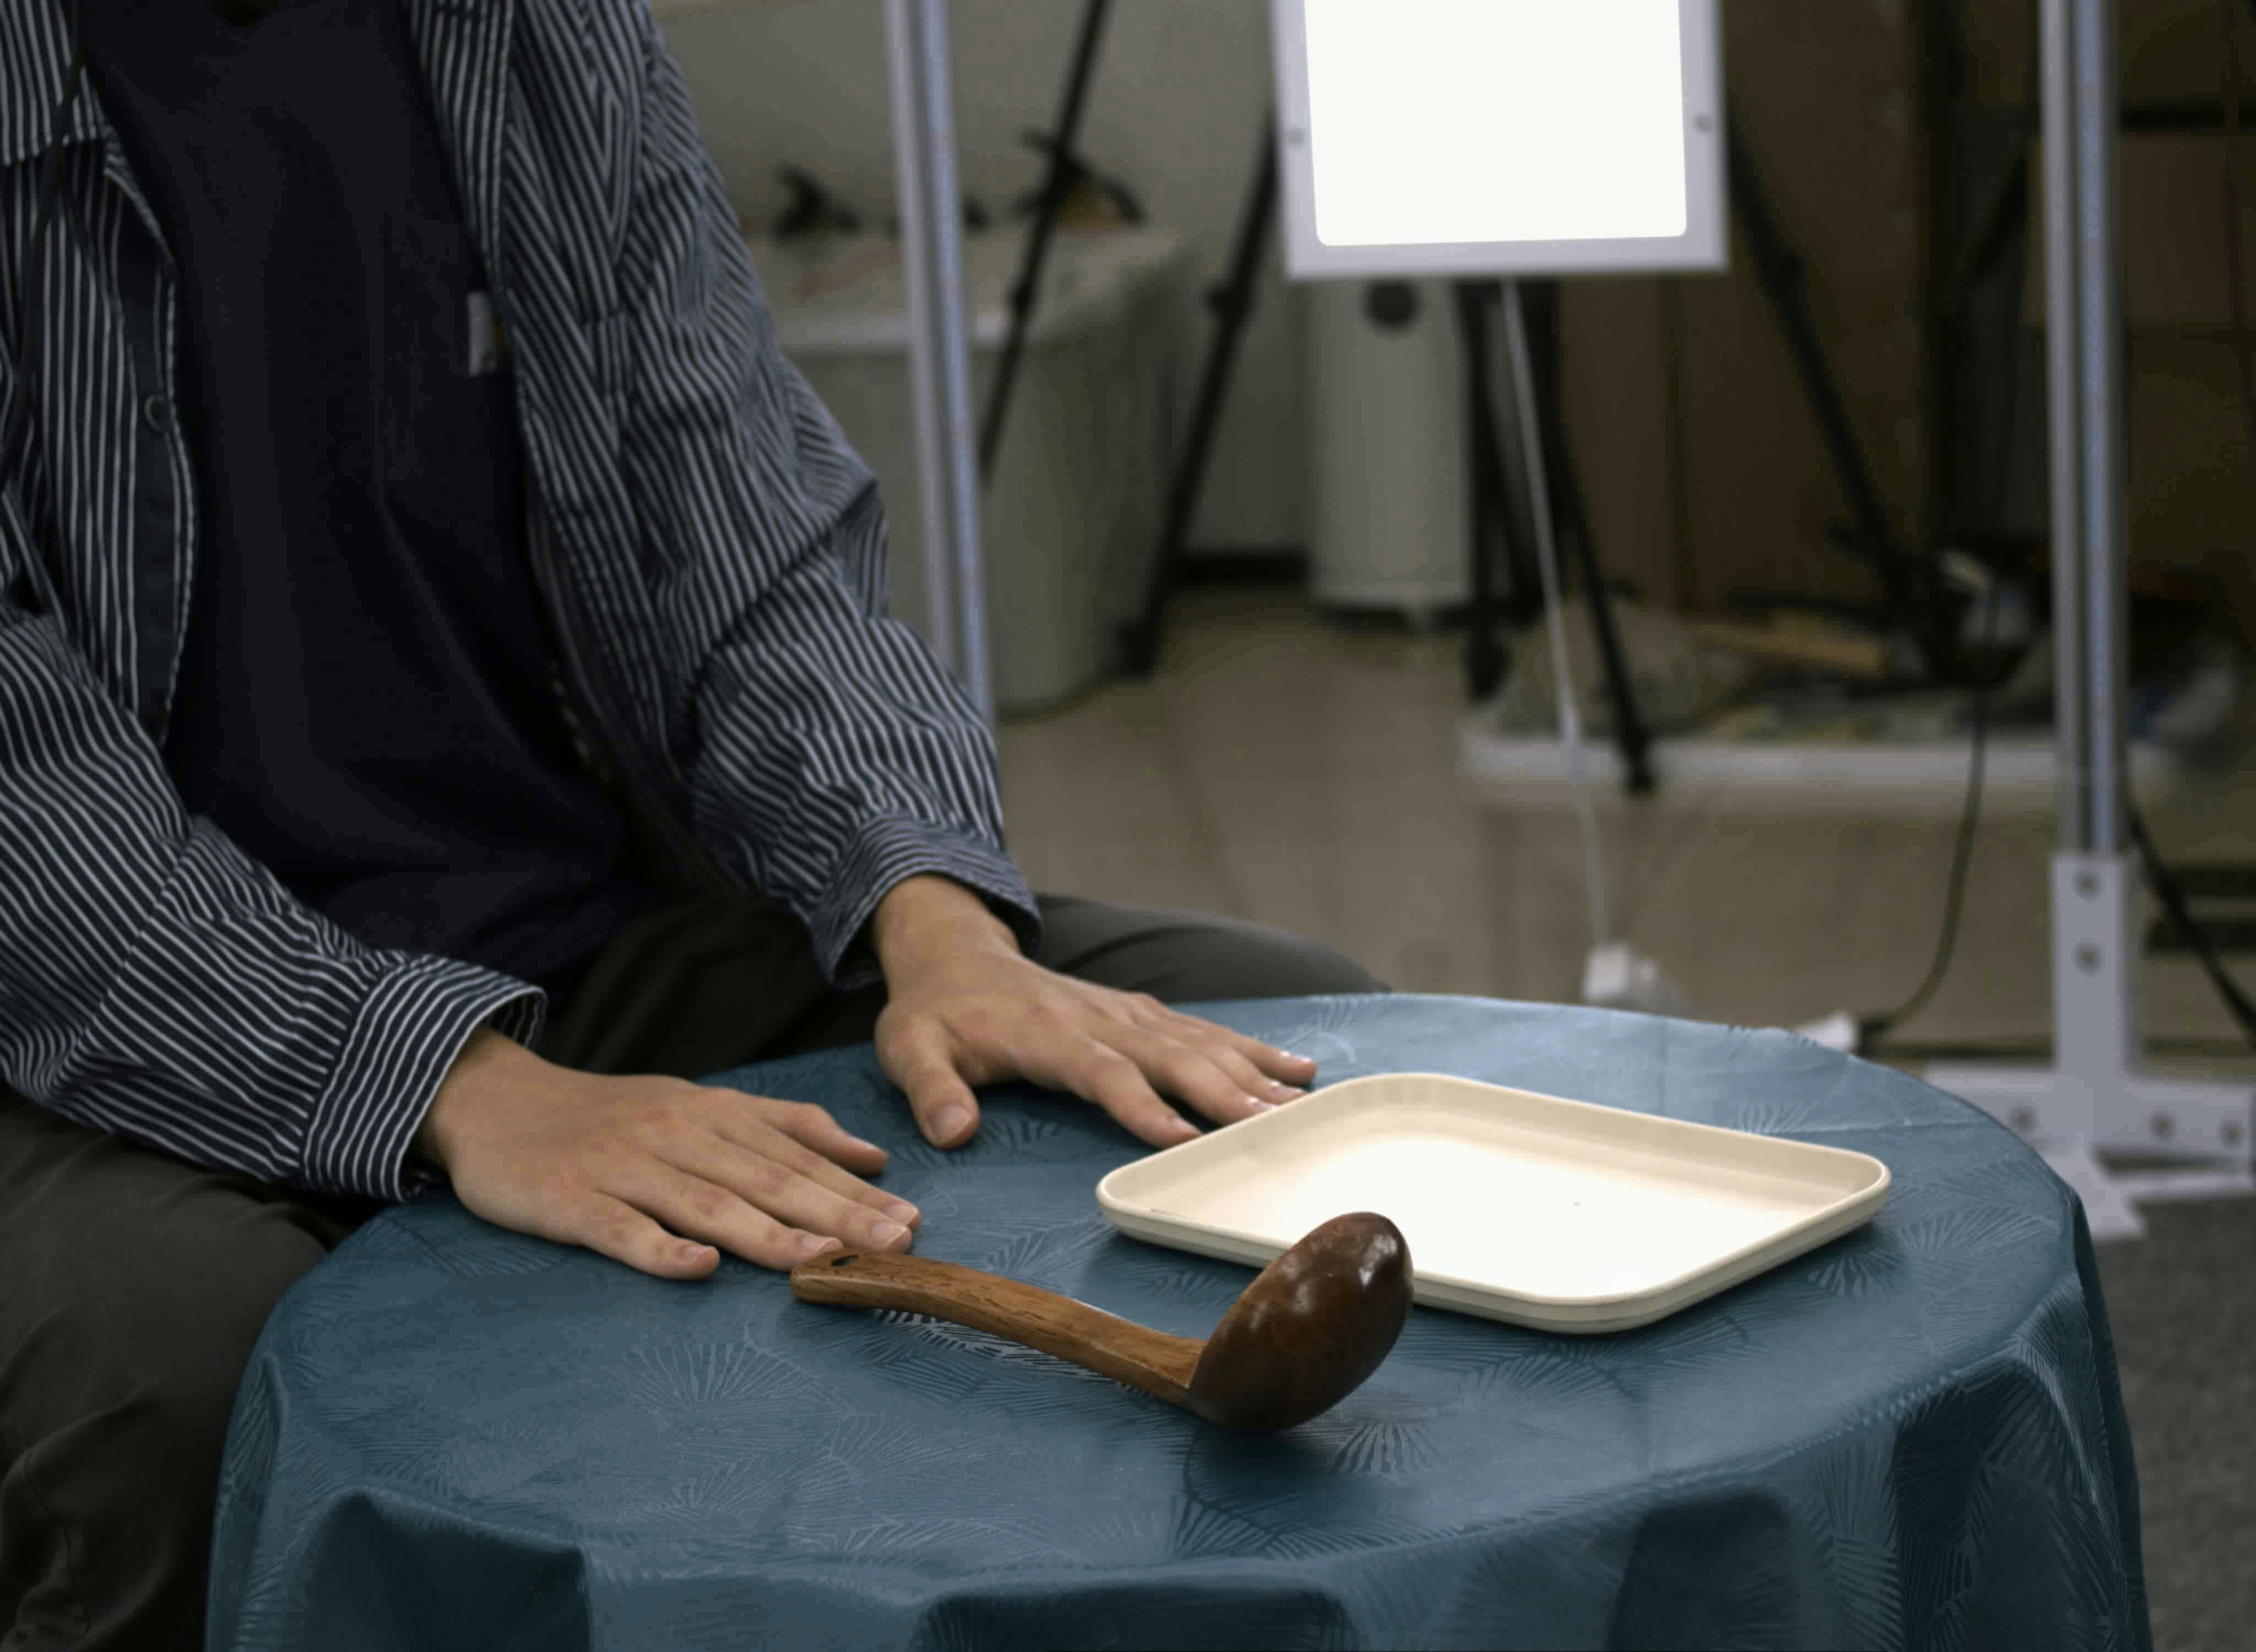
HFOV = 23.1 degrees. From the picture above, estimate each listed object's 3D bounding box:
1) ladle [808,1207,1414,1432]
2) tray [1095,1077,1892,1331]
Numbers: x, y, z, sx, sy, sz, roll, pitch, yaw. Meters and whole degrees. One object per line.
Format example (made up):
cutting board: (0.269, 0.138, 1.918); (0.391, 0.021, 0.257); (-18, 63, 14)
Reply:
ladle: (-0.018, 0.134, 1.708); (0.080, 0.077, 0.280); (-21, 20, -36)
tray: (0.120, 0.124, 1.821); (0.245, 0.017, 0.167); (8, 18, 45)
